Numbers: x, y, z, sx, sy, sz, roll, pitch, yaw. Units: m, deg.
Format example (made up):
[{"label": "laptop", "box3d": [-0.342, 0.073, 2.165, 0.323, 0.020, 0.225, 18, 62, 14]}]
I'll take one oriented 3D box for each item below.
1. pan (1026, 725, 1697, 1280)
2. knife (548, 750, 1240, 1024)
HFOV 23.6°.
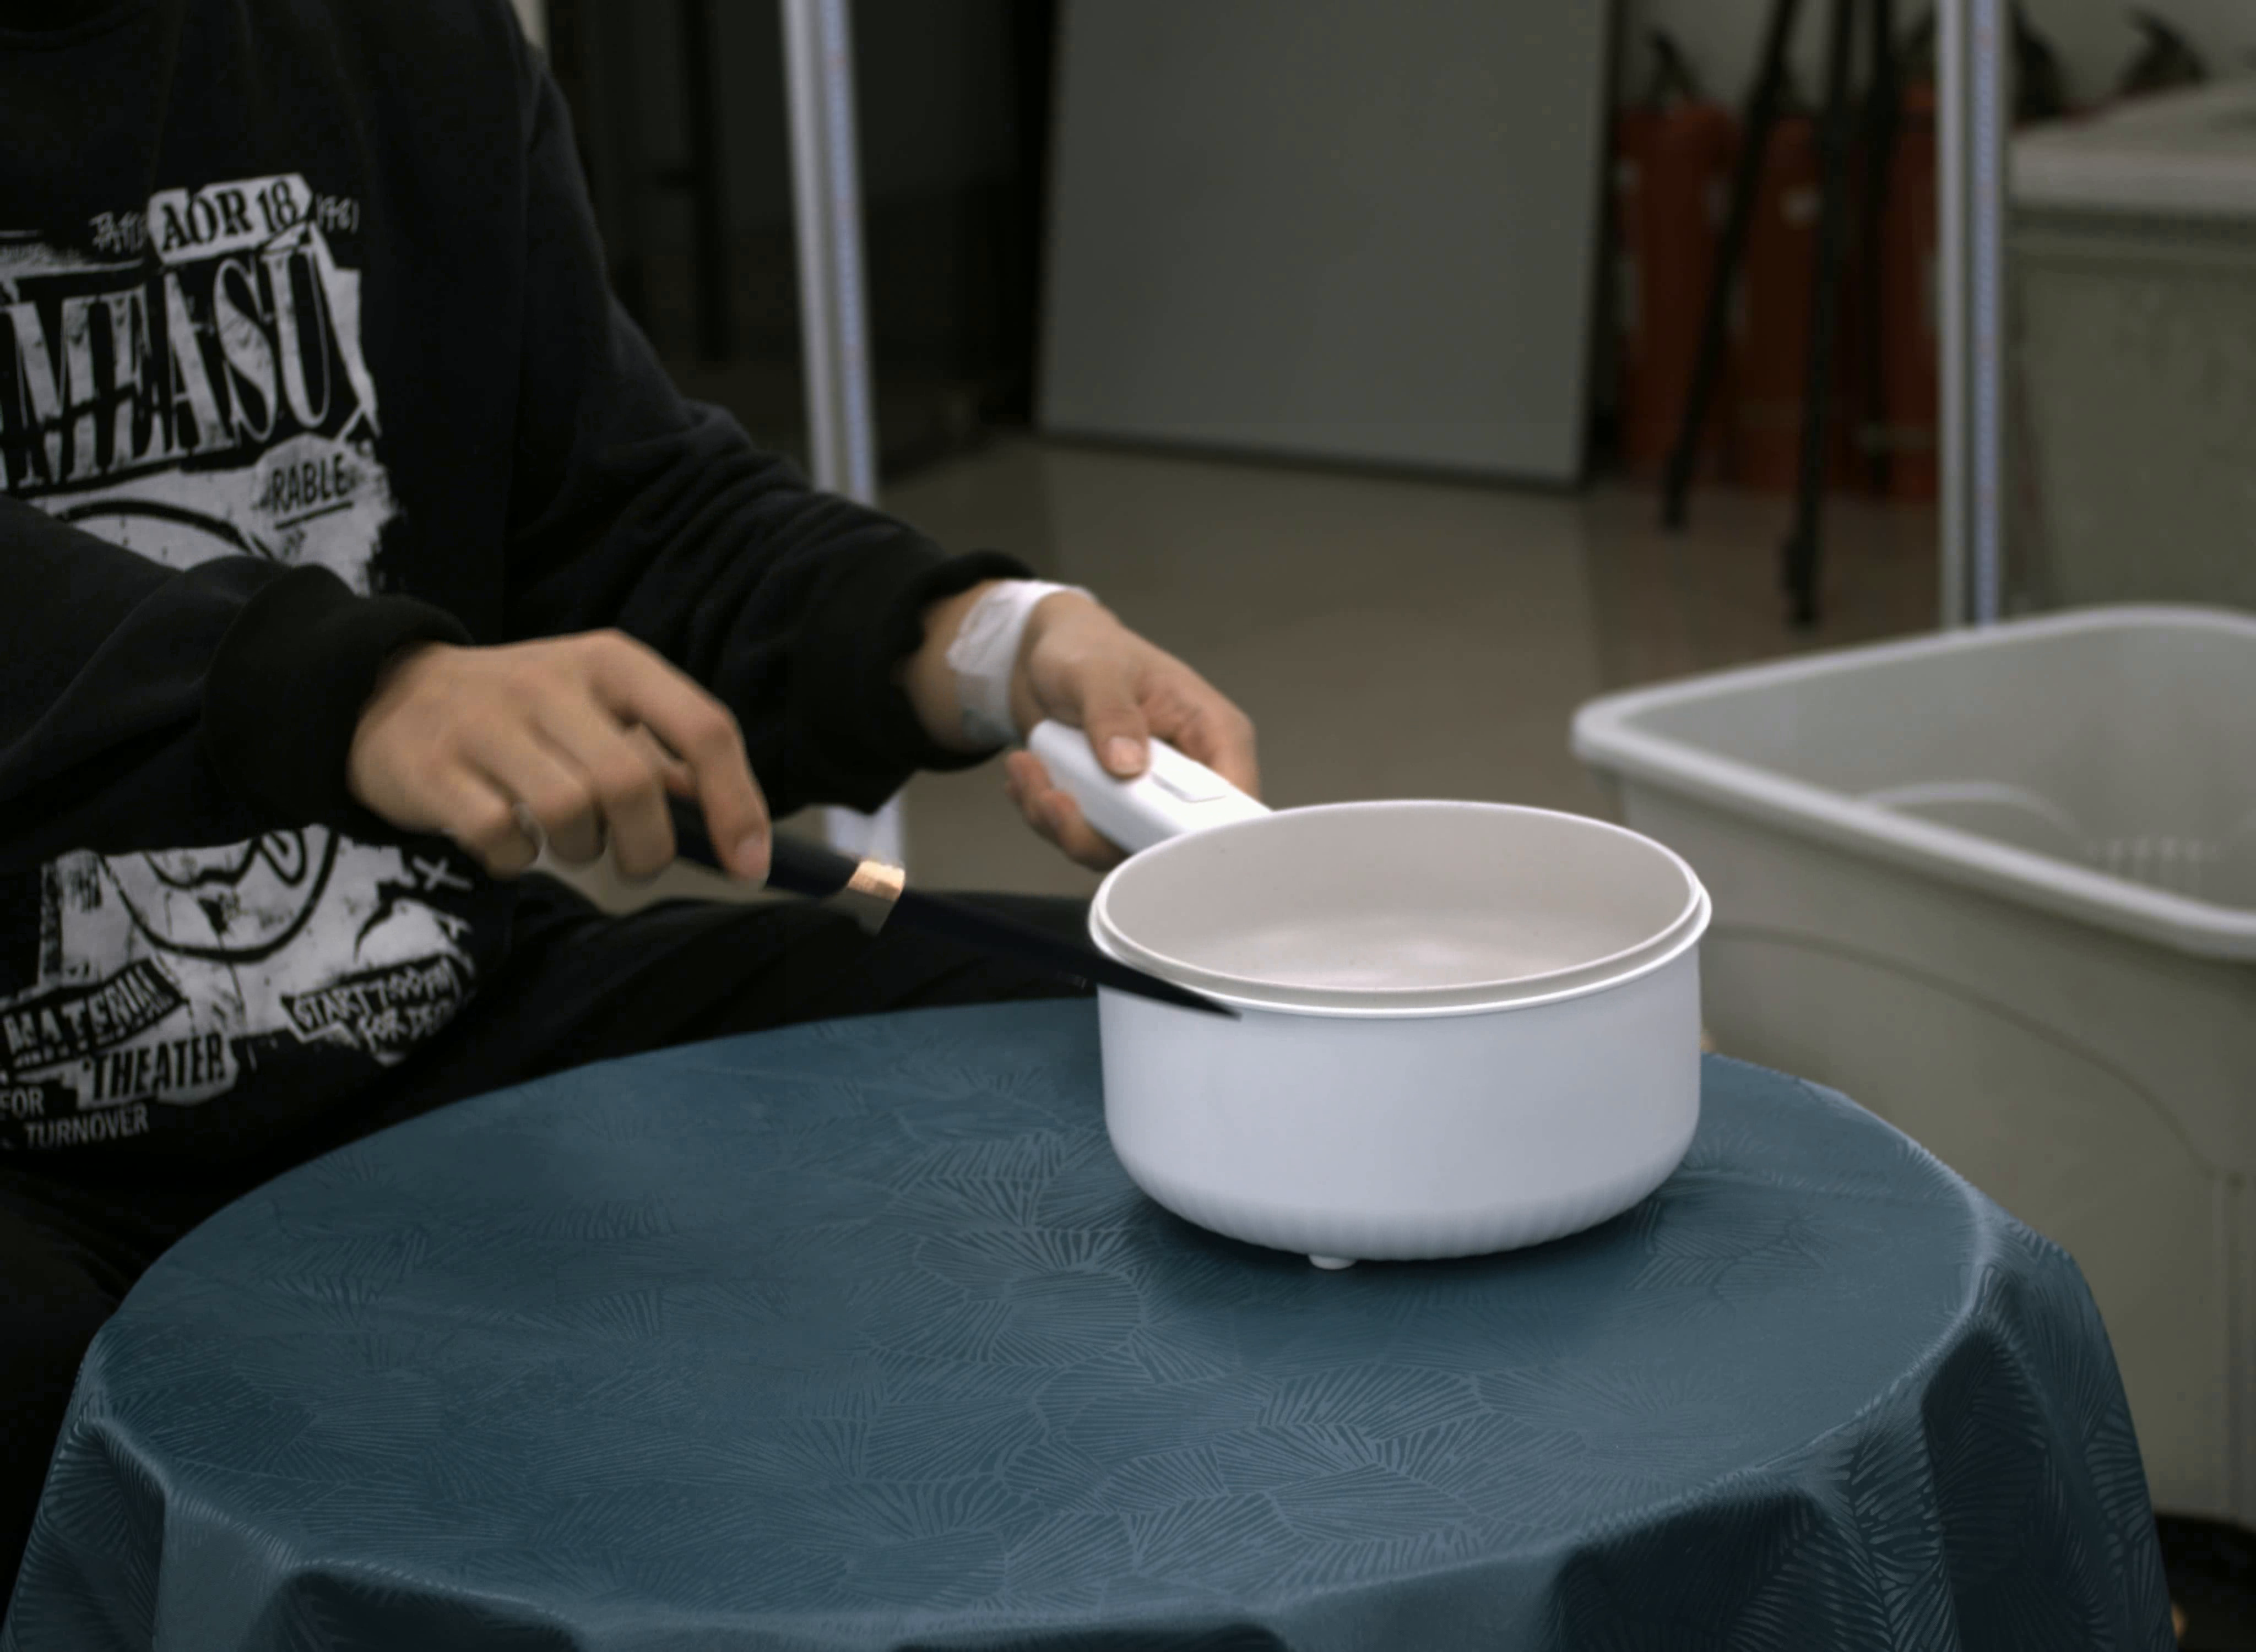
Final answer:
[{"label": "pan", "box3d": [0.054, 0.052, 1.807, 0.197, 0.103, 0.358, -12, 18, -22]}, {"label": "knife", "box3d": [-0.068, 0.019, 1.609, 0.222, 0.026, 0.017, 19, 43, -9]}]
